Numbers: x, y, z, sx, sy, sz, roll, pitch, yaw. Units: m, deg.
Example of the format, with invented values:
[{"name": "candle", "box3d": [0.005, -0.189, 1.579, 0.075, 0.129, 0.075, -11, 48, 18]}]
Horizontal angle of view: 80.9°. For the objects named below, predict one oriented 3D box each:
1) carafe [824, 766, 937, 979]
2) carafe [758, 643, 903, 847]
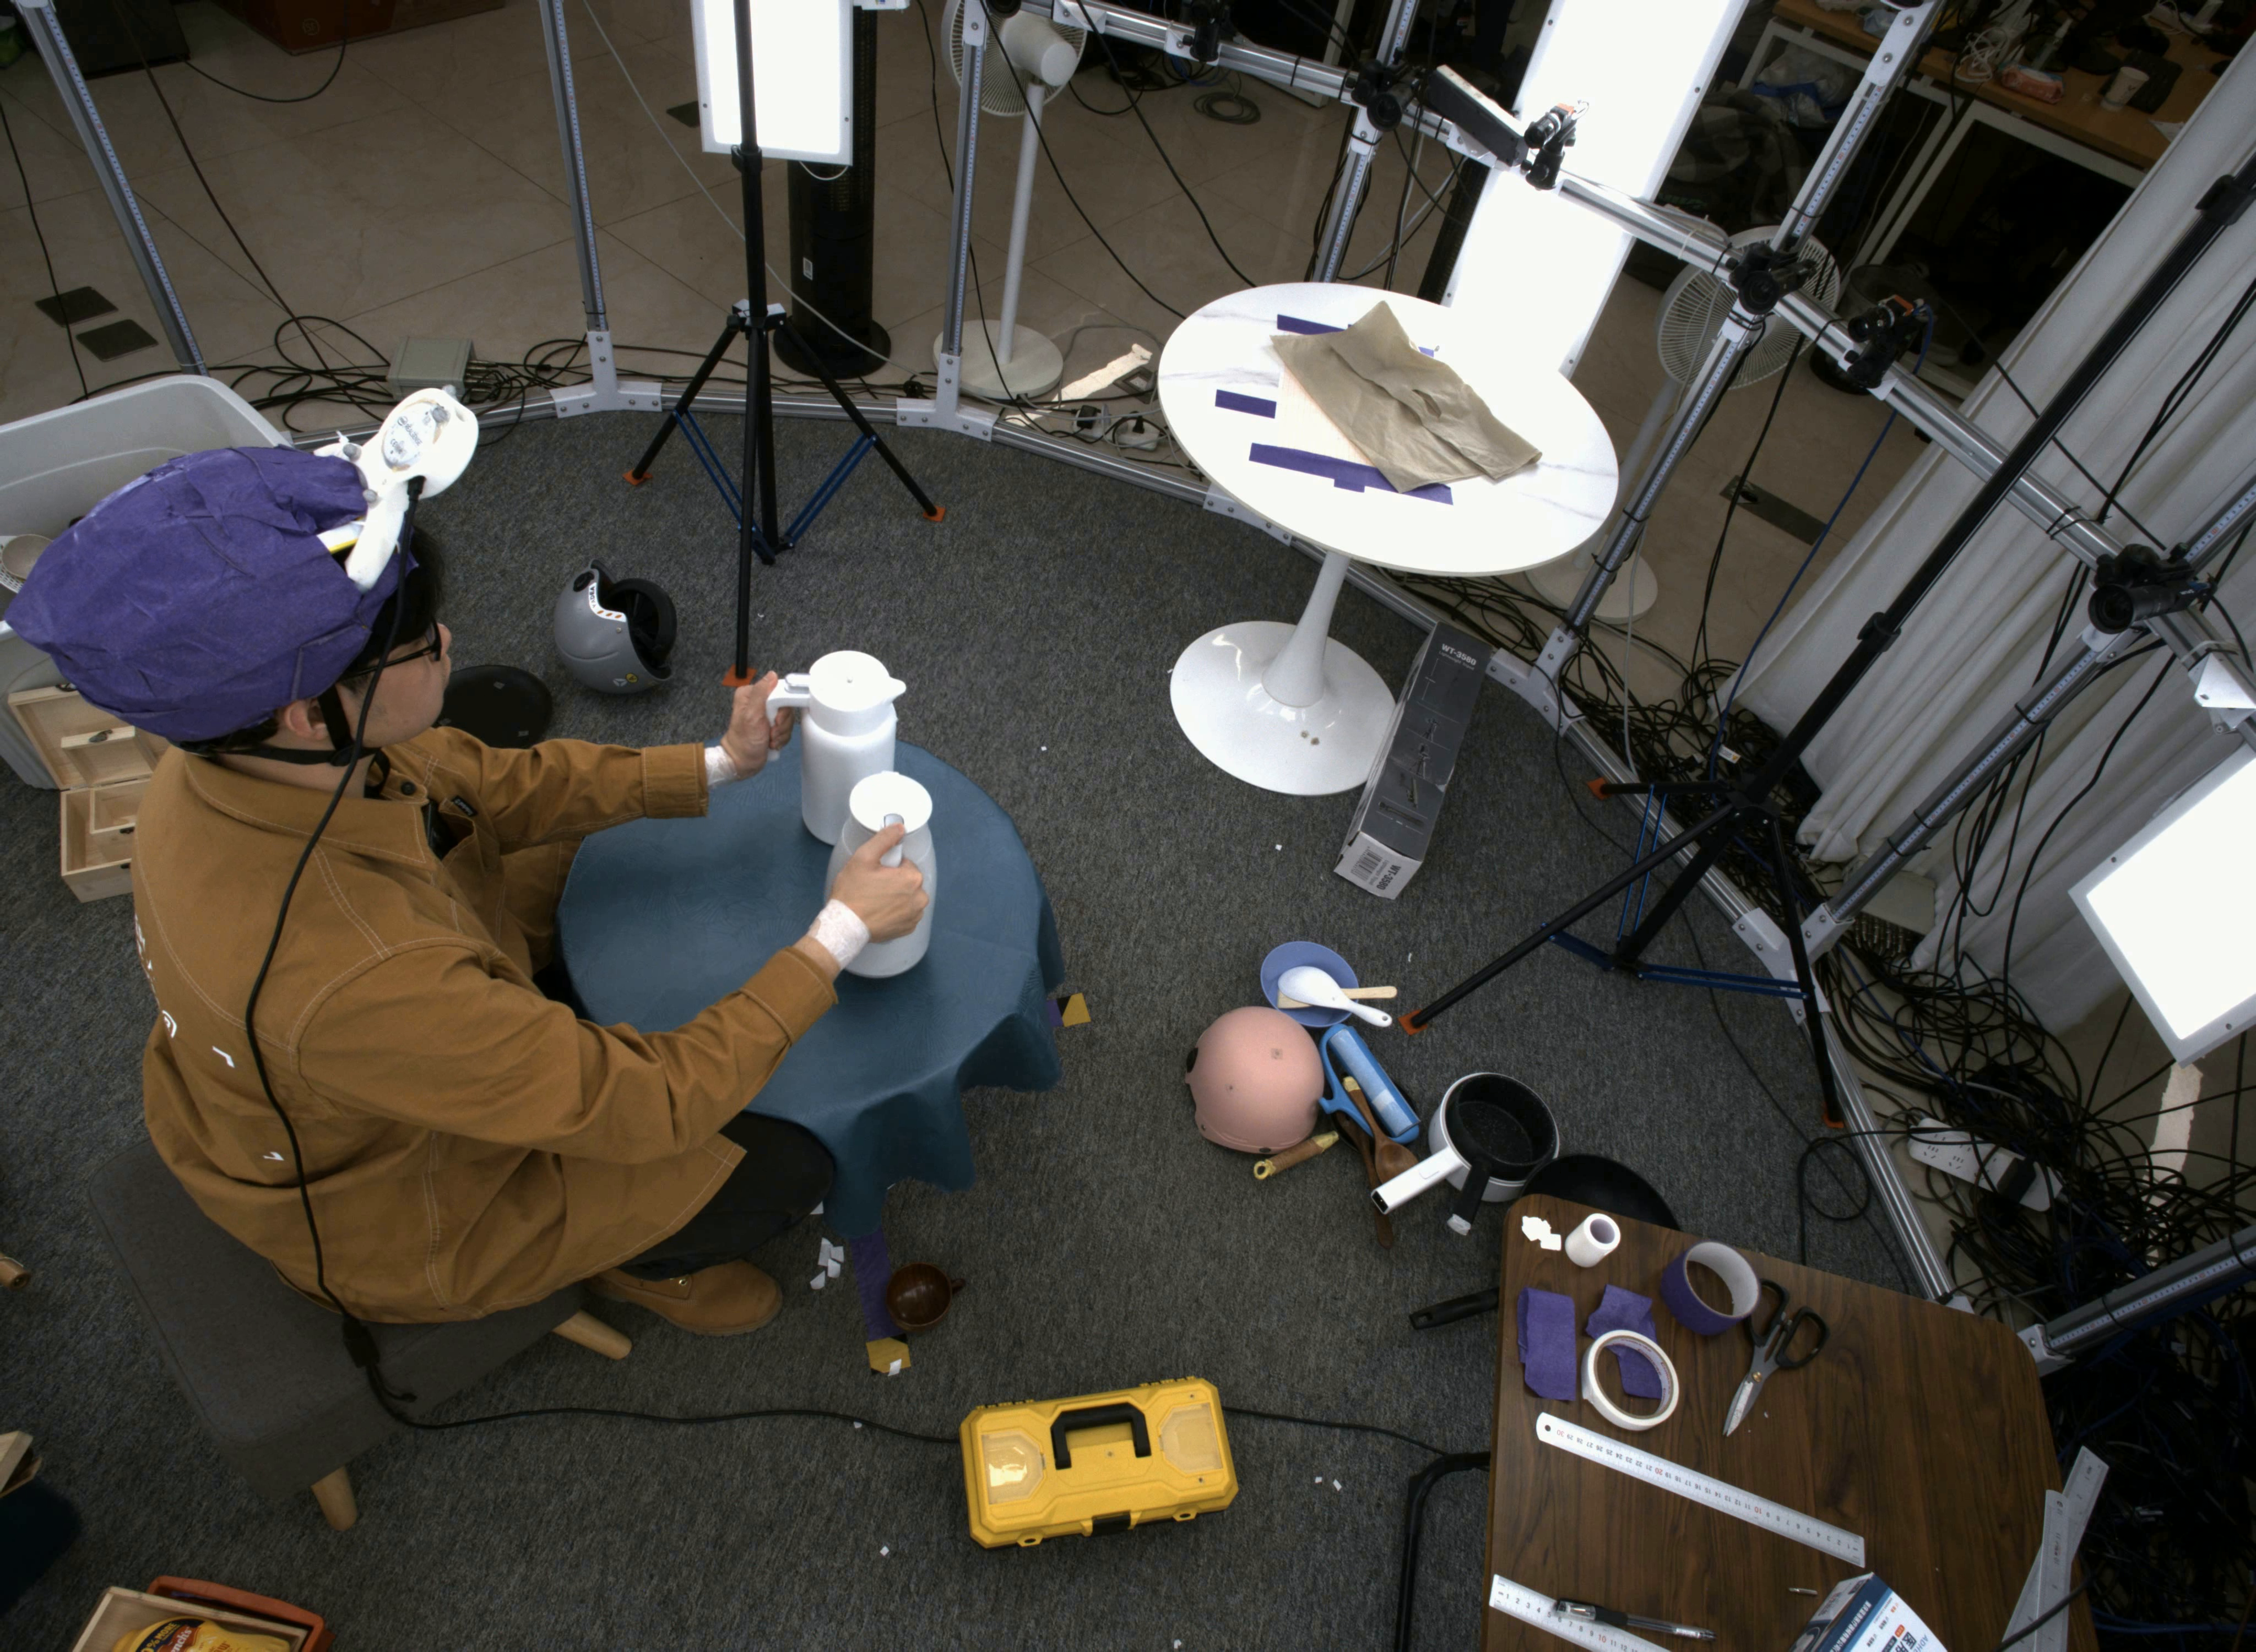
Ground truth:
[{"name": "carafe", "box3d": [-0.282, 0.063, 1.497, 0.133, 0.254, 0.164, 2, 49, -13]}, {"name": "carafe", "box3d": [-0.373, -0.097, 1.634, 0.173, 0.274, 0.121, -2, 55, -14]}]
